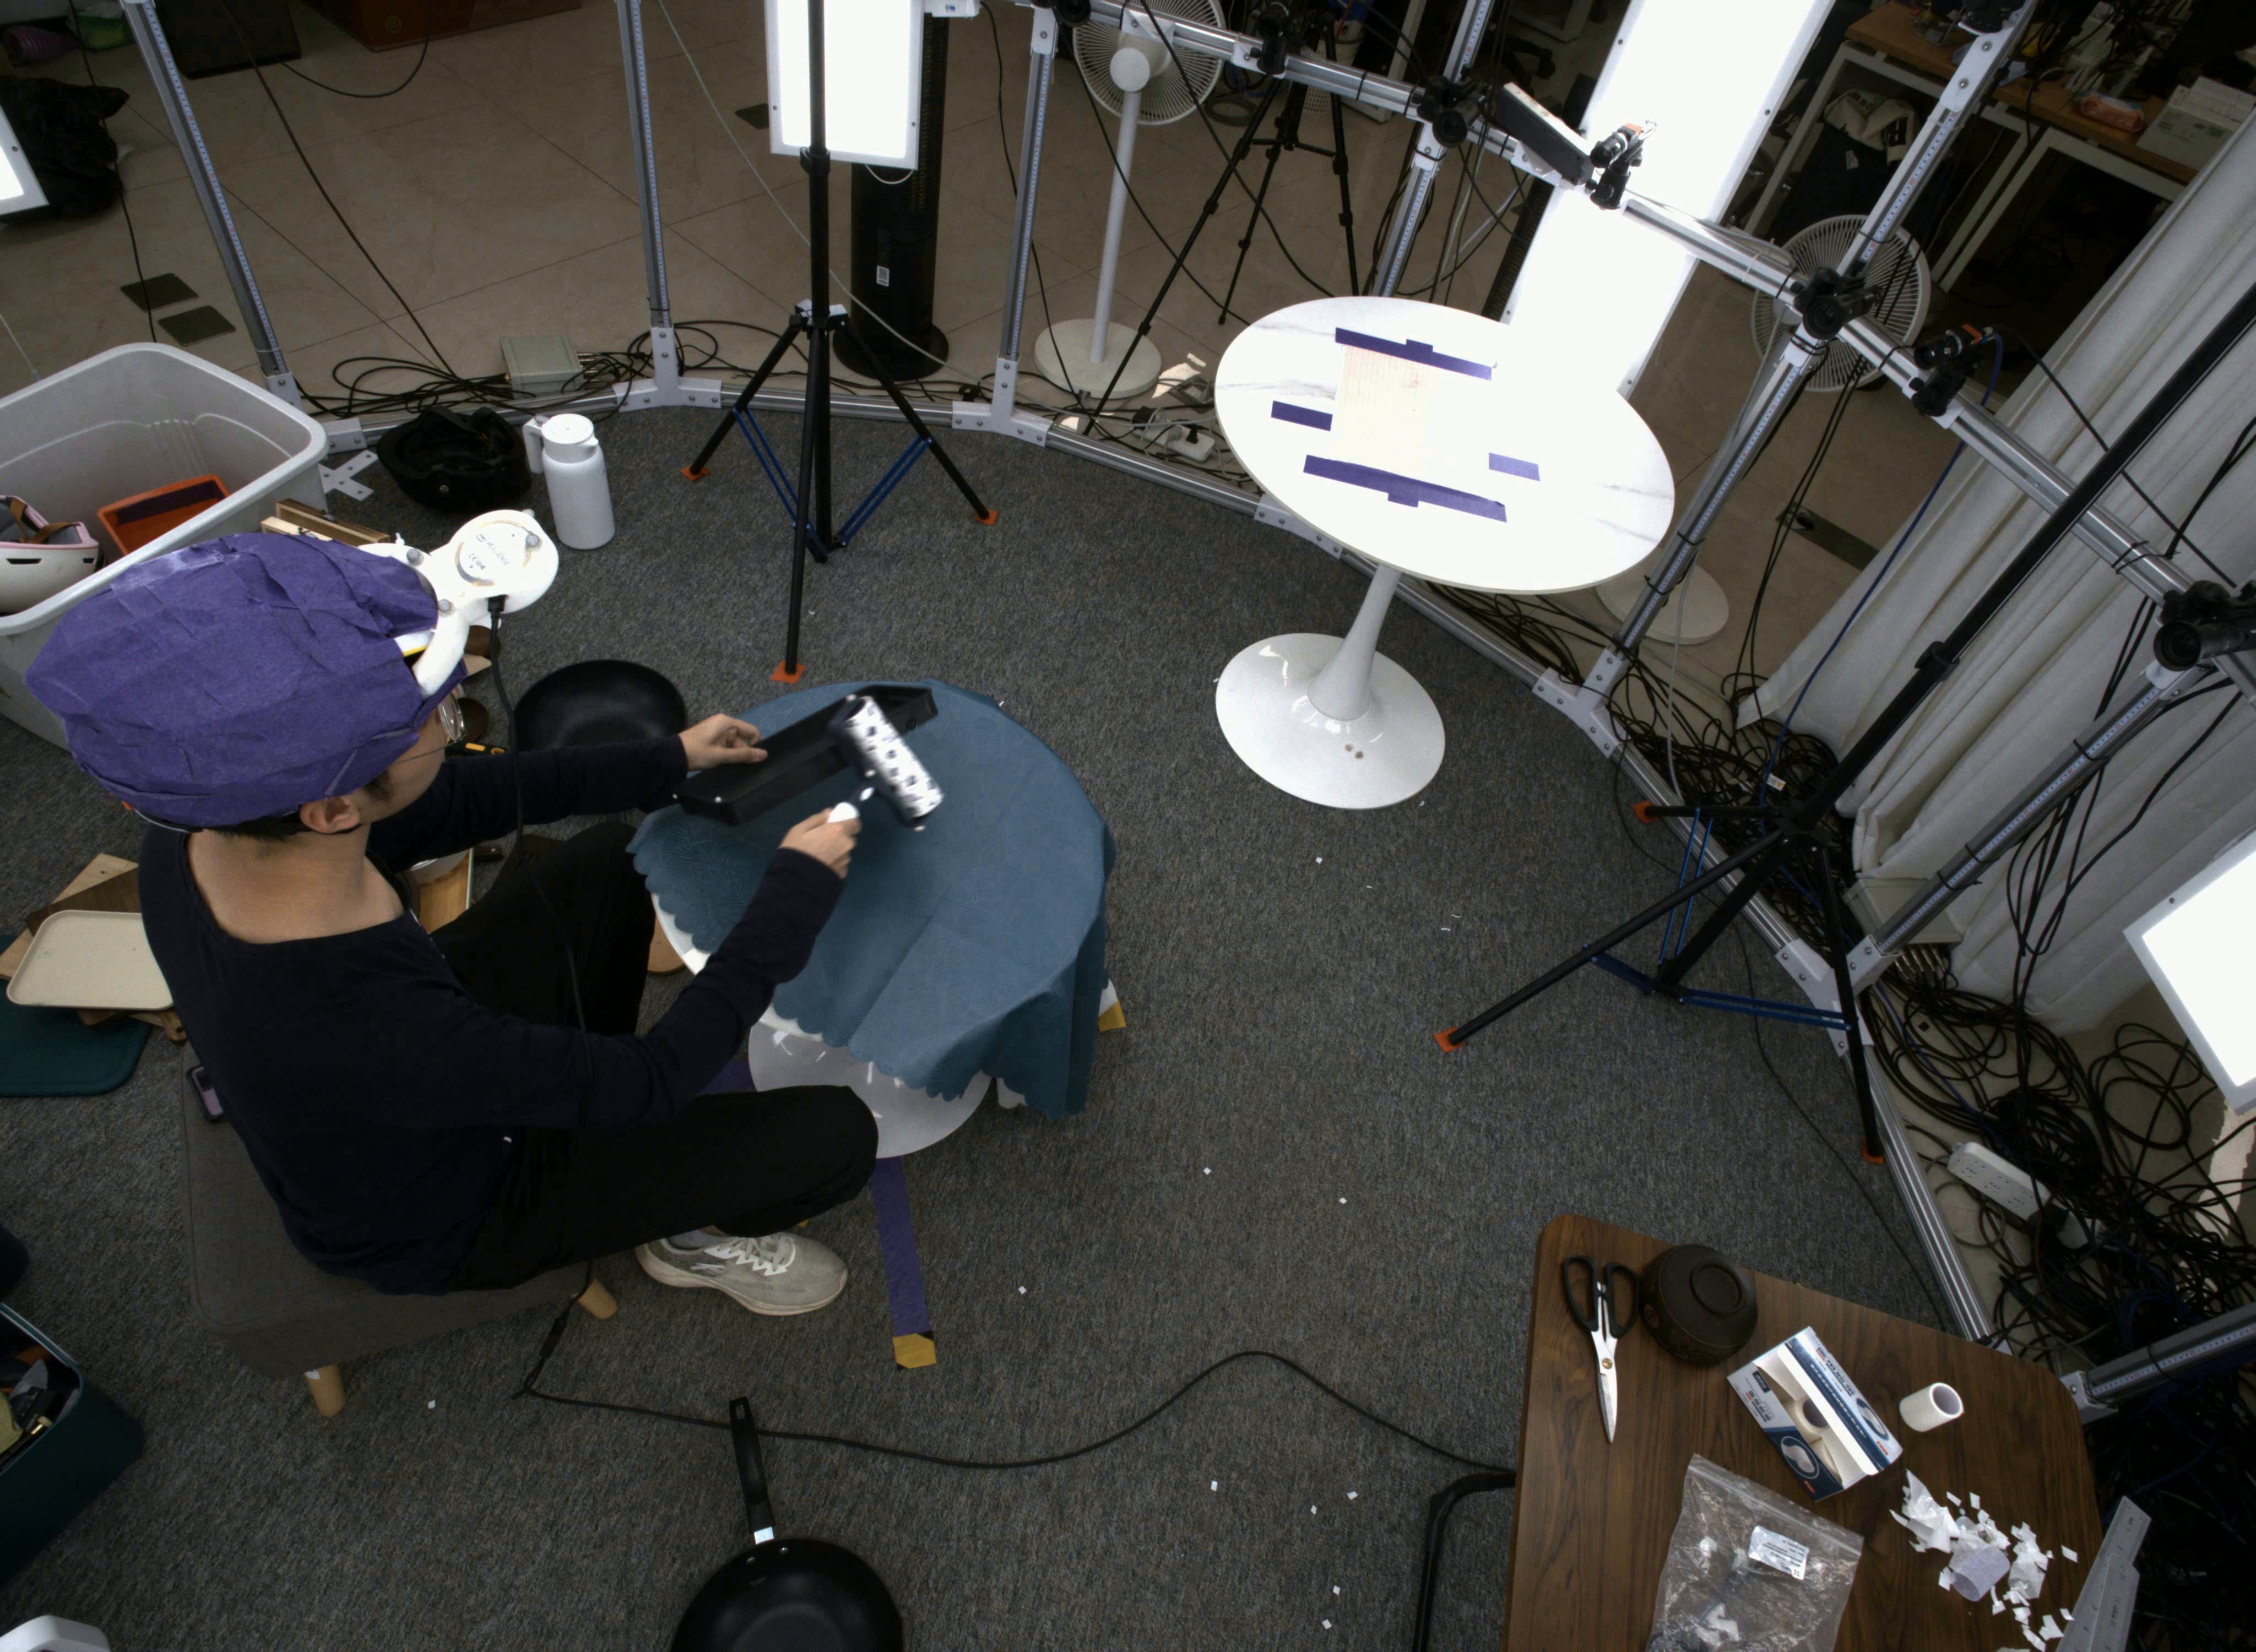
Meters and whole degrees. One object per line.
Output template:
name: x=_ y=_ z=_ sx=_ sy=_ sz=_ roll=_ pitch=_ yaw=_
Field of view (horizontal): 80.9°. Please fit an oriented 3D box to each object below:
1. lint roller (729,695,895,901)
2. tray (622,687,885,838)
lint roller: x=-0.389 y=-0.010 z=1.530 sx=0.049 sy=0.183 sz=0.245 roll=-2 pitch=47 yaw=38
tray: x=-0.469 y=-0.087 z=1.624 sx=0.318 sy=0.038 sz=0.178 roll=-37 pitch=28 yaw=-32
